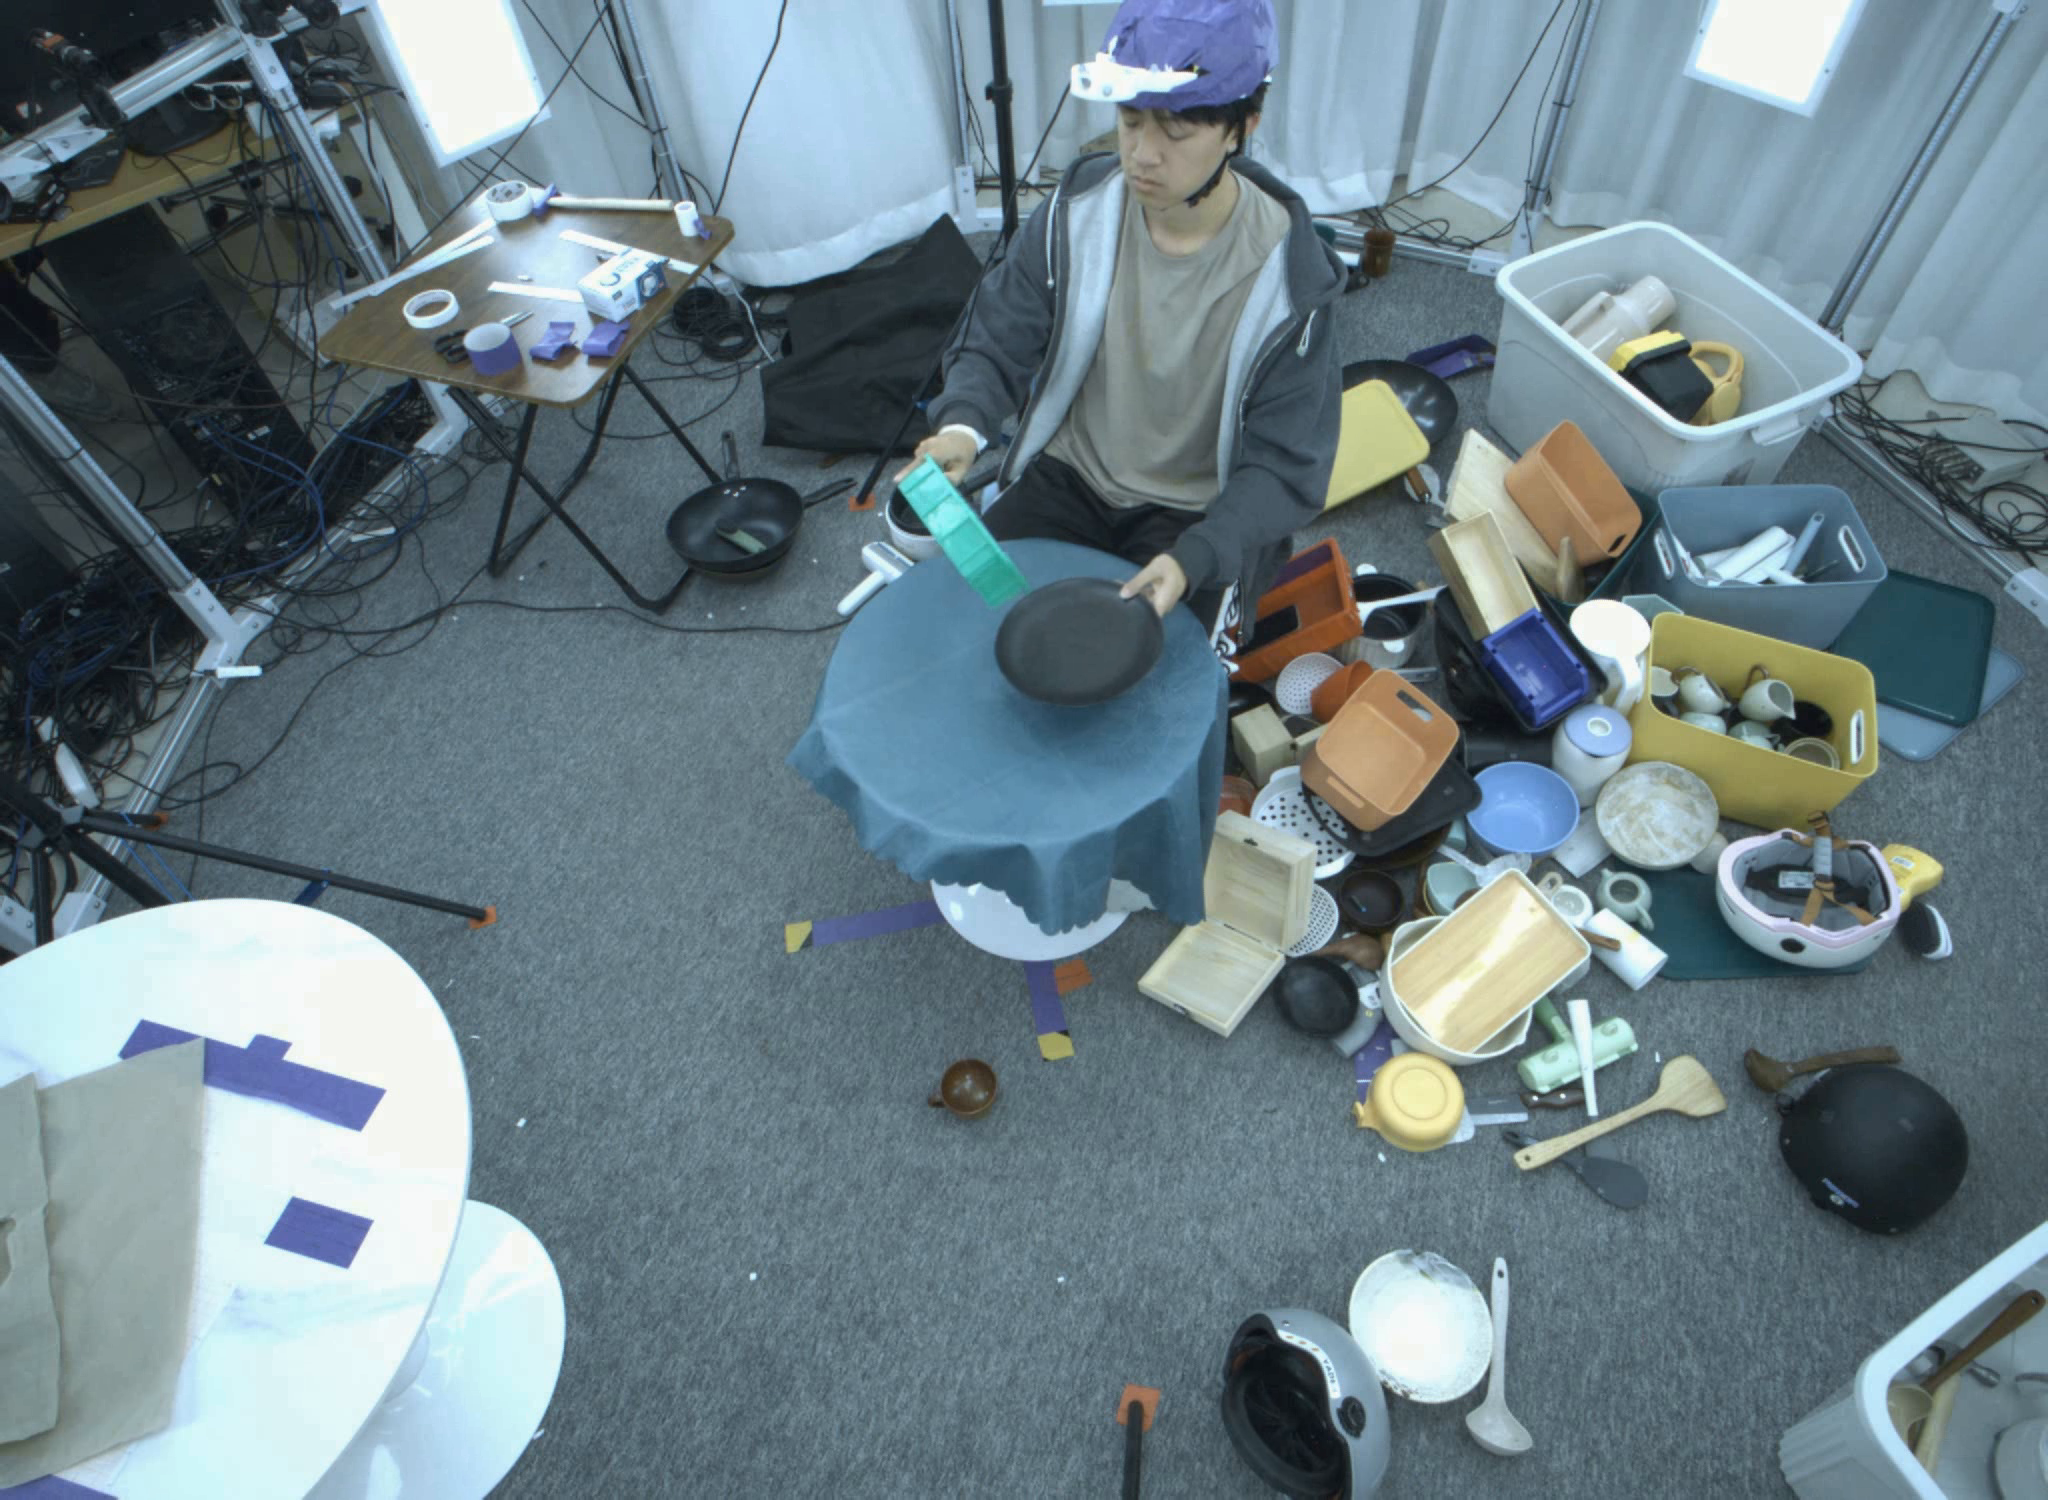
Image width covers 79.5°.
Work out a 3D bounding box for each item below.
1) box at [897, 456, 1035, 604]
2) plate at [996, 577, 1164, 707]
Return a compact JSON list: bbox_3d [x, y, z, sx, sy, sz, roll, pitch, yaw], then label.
[{"bbox_3d":[-0.084,-0.298,1.674,0.065,0.140,0.207,-41,71,4],"label":"box"},{"bbox_3d":[0.080,-0.154,1.774,0.243,0.024,0.242,-4,54,6],"label":"plate"}]
